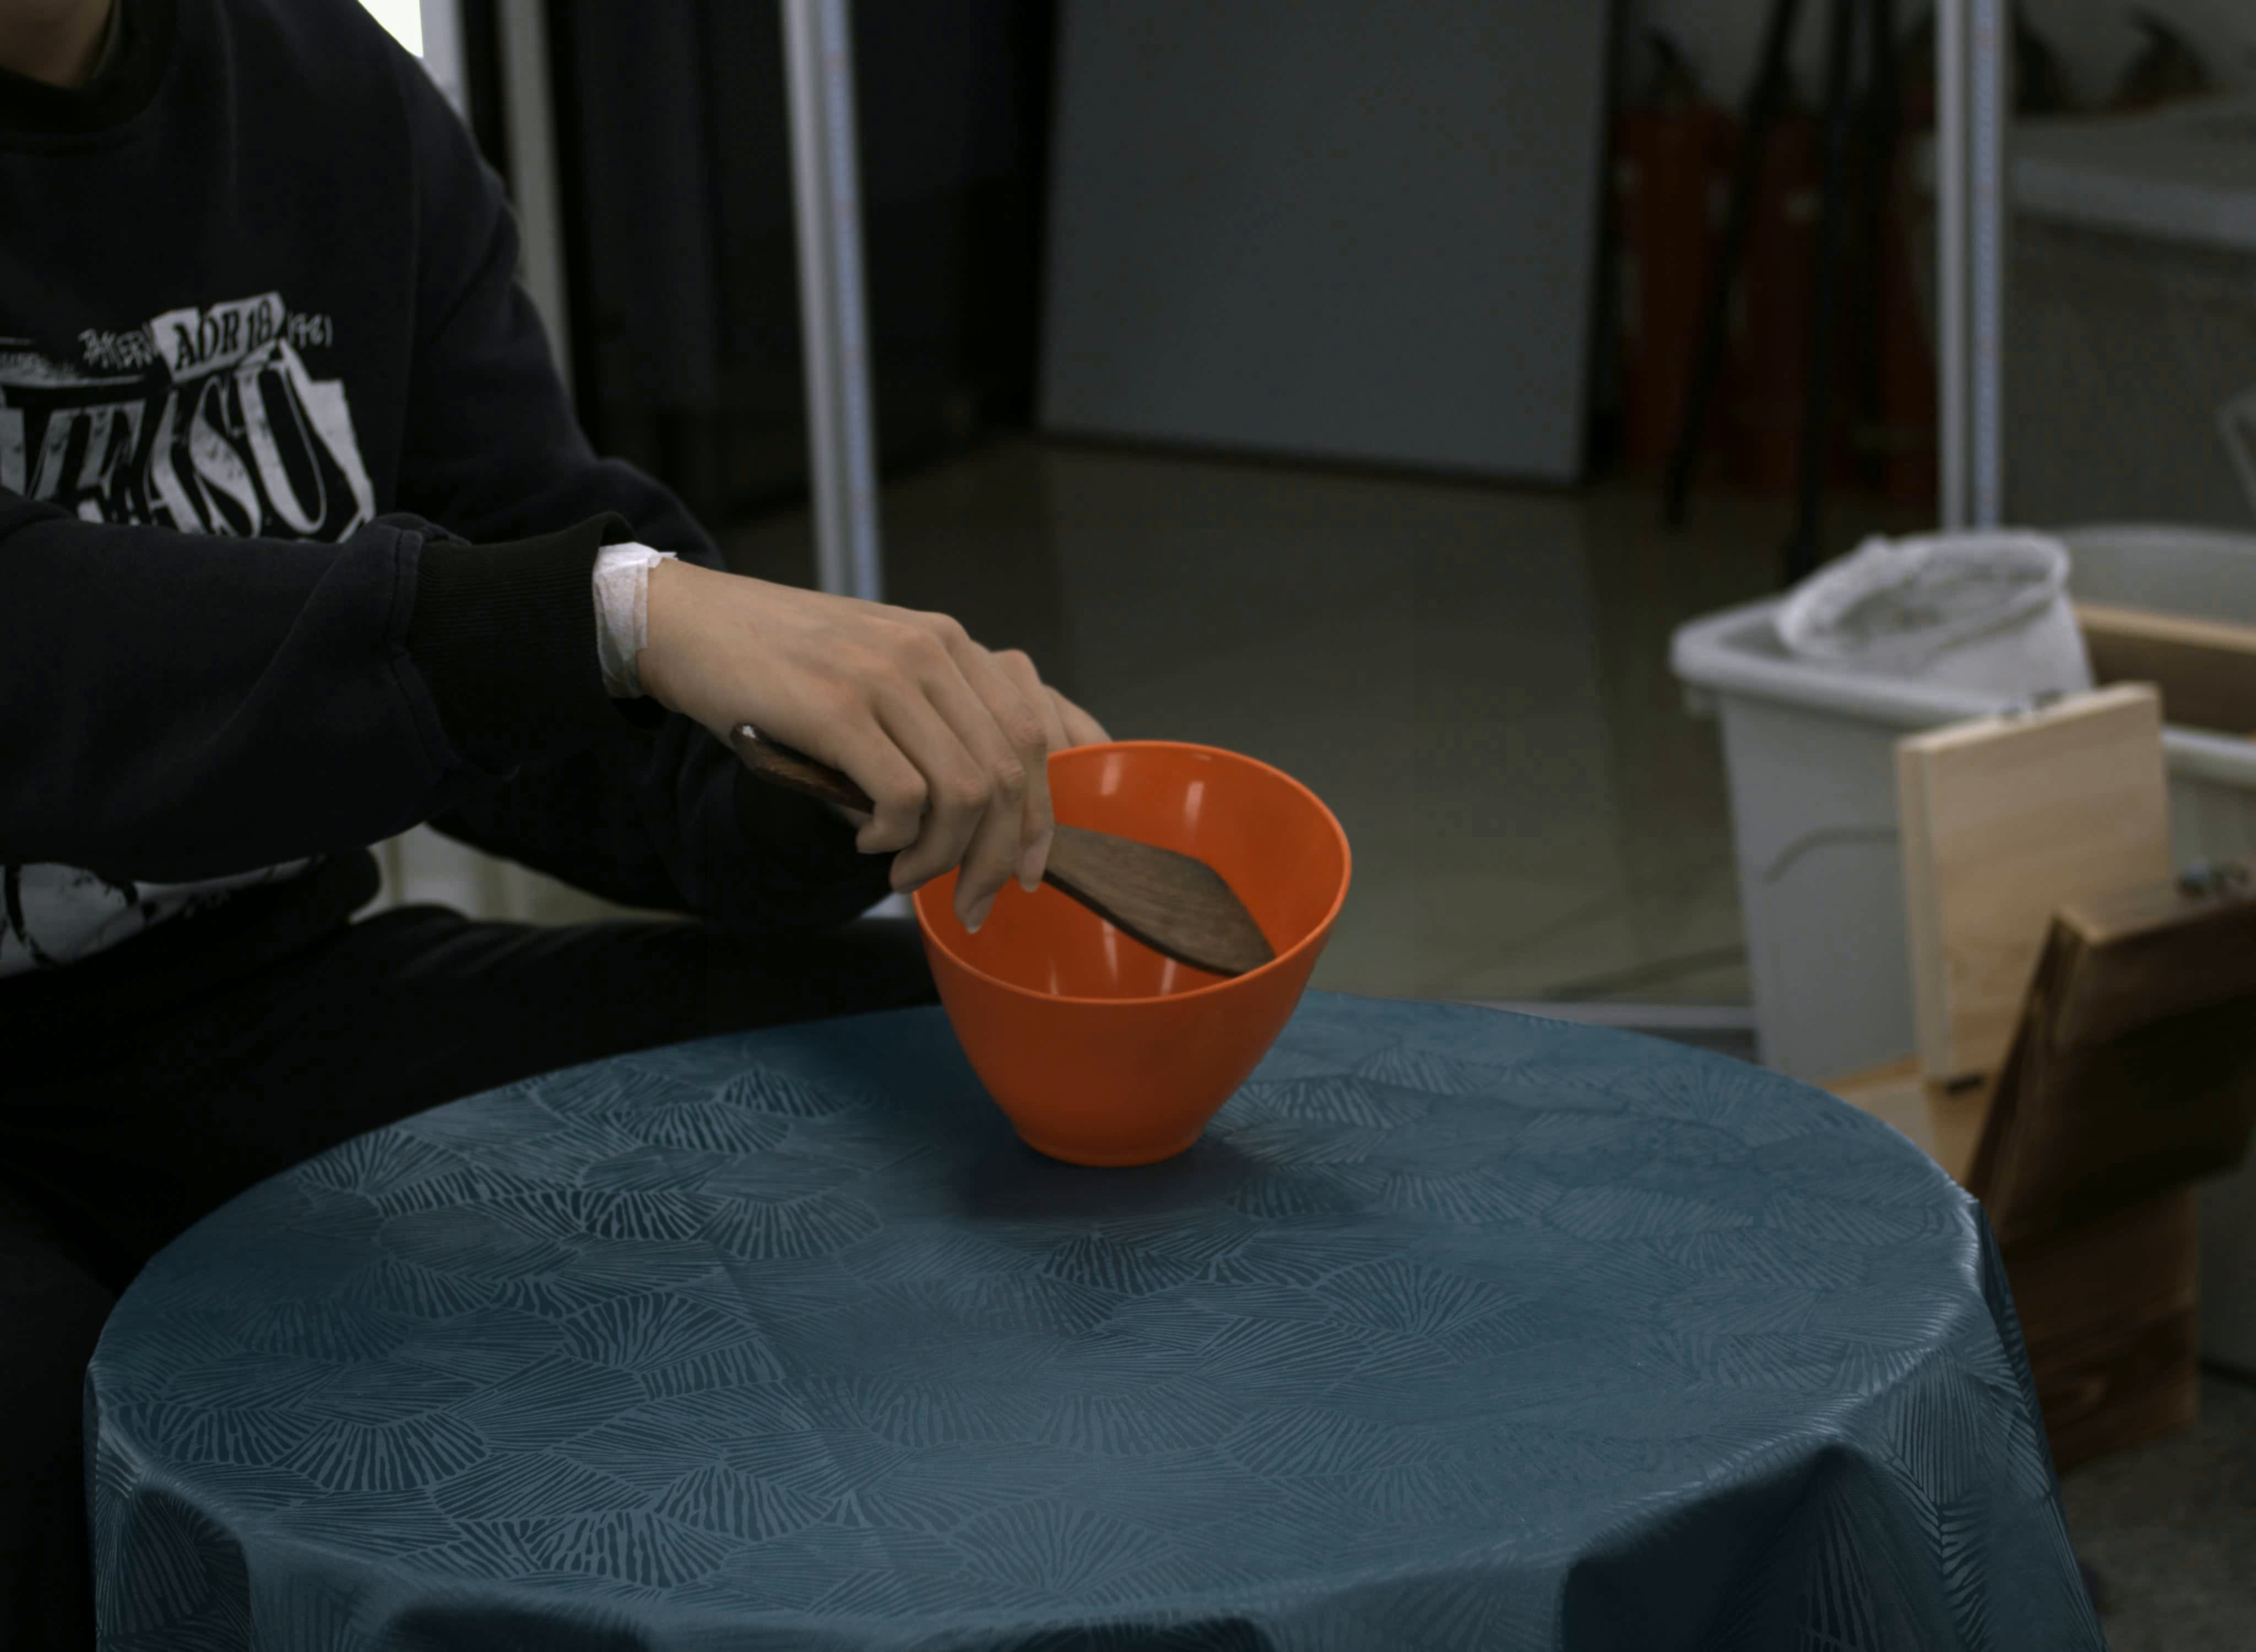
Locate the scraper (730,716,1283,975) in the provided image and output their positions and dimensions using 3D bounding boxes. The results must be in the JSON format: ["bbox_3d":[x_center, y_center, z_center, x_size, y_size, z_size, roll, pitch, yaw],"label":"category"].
[{"bbox_3d":[-0.040,0.003,1.730,0.207,0.011,0.077,21,21,-33],"label":"scraper"}]

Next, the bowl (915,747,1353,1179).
[{"bbox_3d":[0.001,0.052,1.809,0.146,0.105,0.148,1,26,-1],"label":"bowl"}]
